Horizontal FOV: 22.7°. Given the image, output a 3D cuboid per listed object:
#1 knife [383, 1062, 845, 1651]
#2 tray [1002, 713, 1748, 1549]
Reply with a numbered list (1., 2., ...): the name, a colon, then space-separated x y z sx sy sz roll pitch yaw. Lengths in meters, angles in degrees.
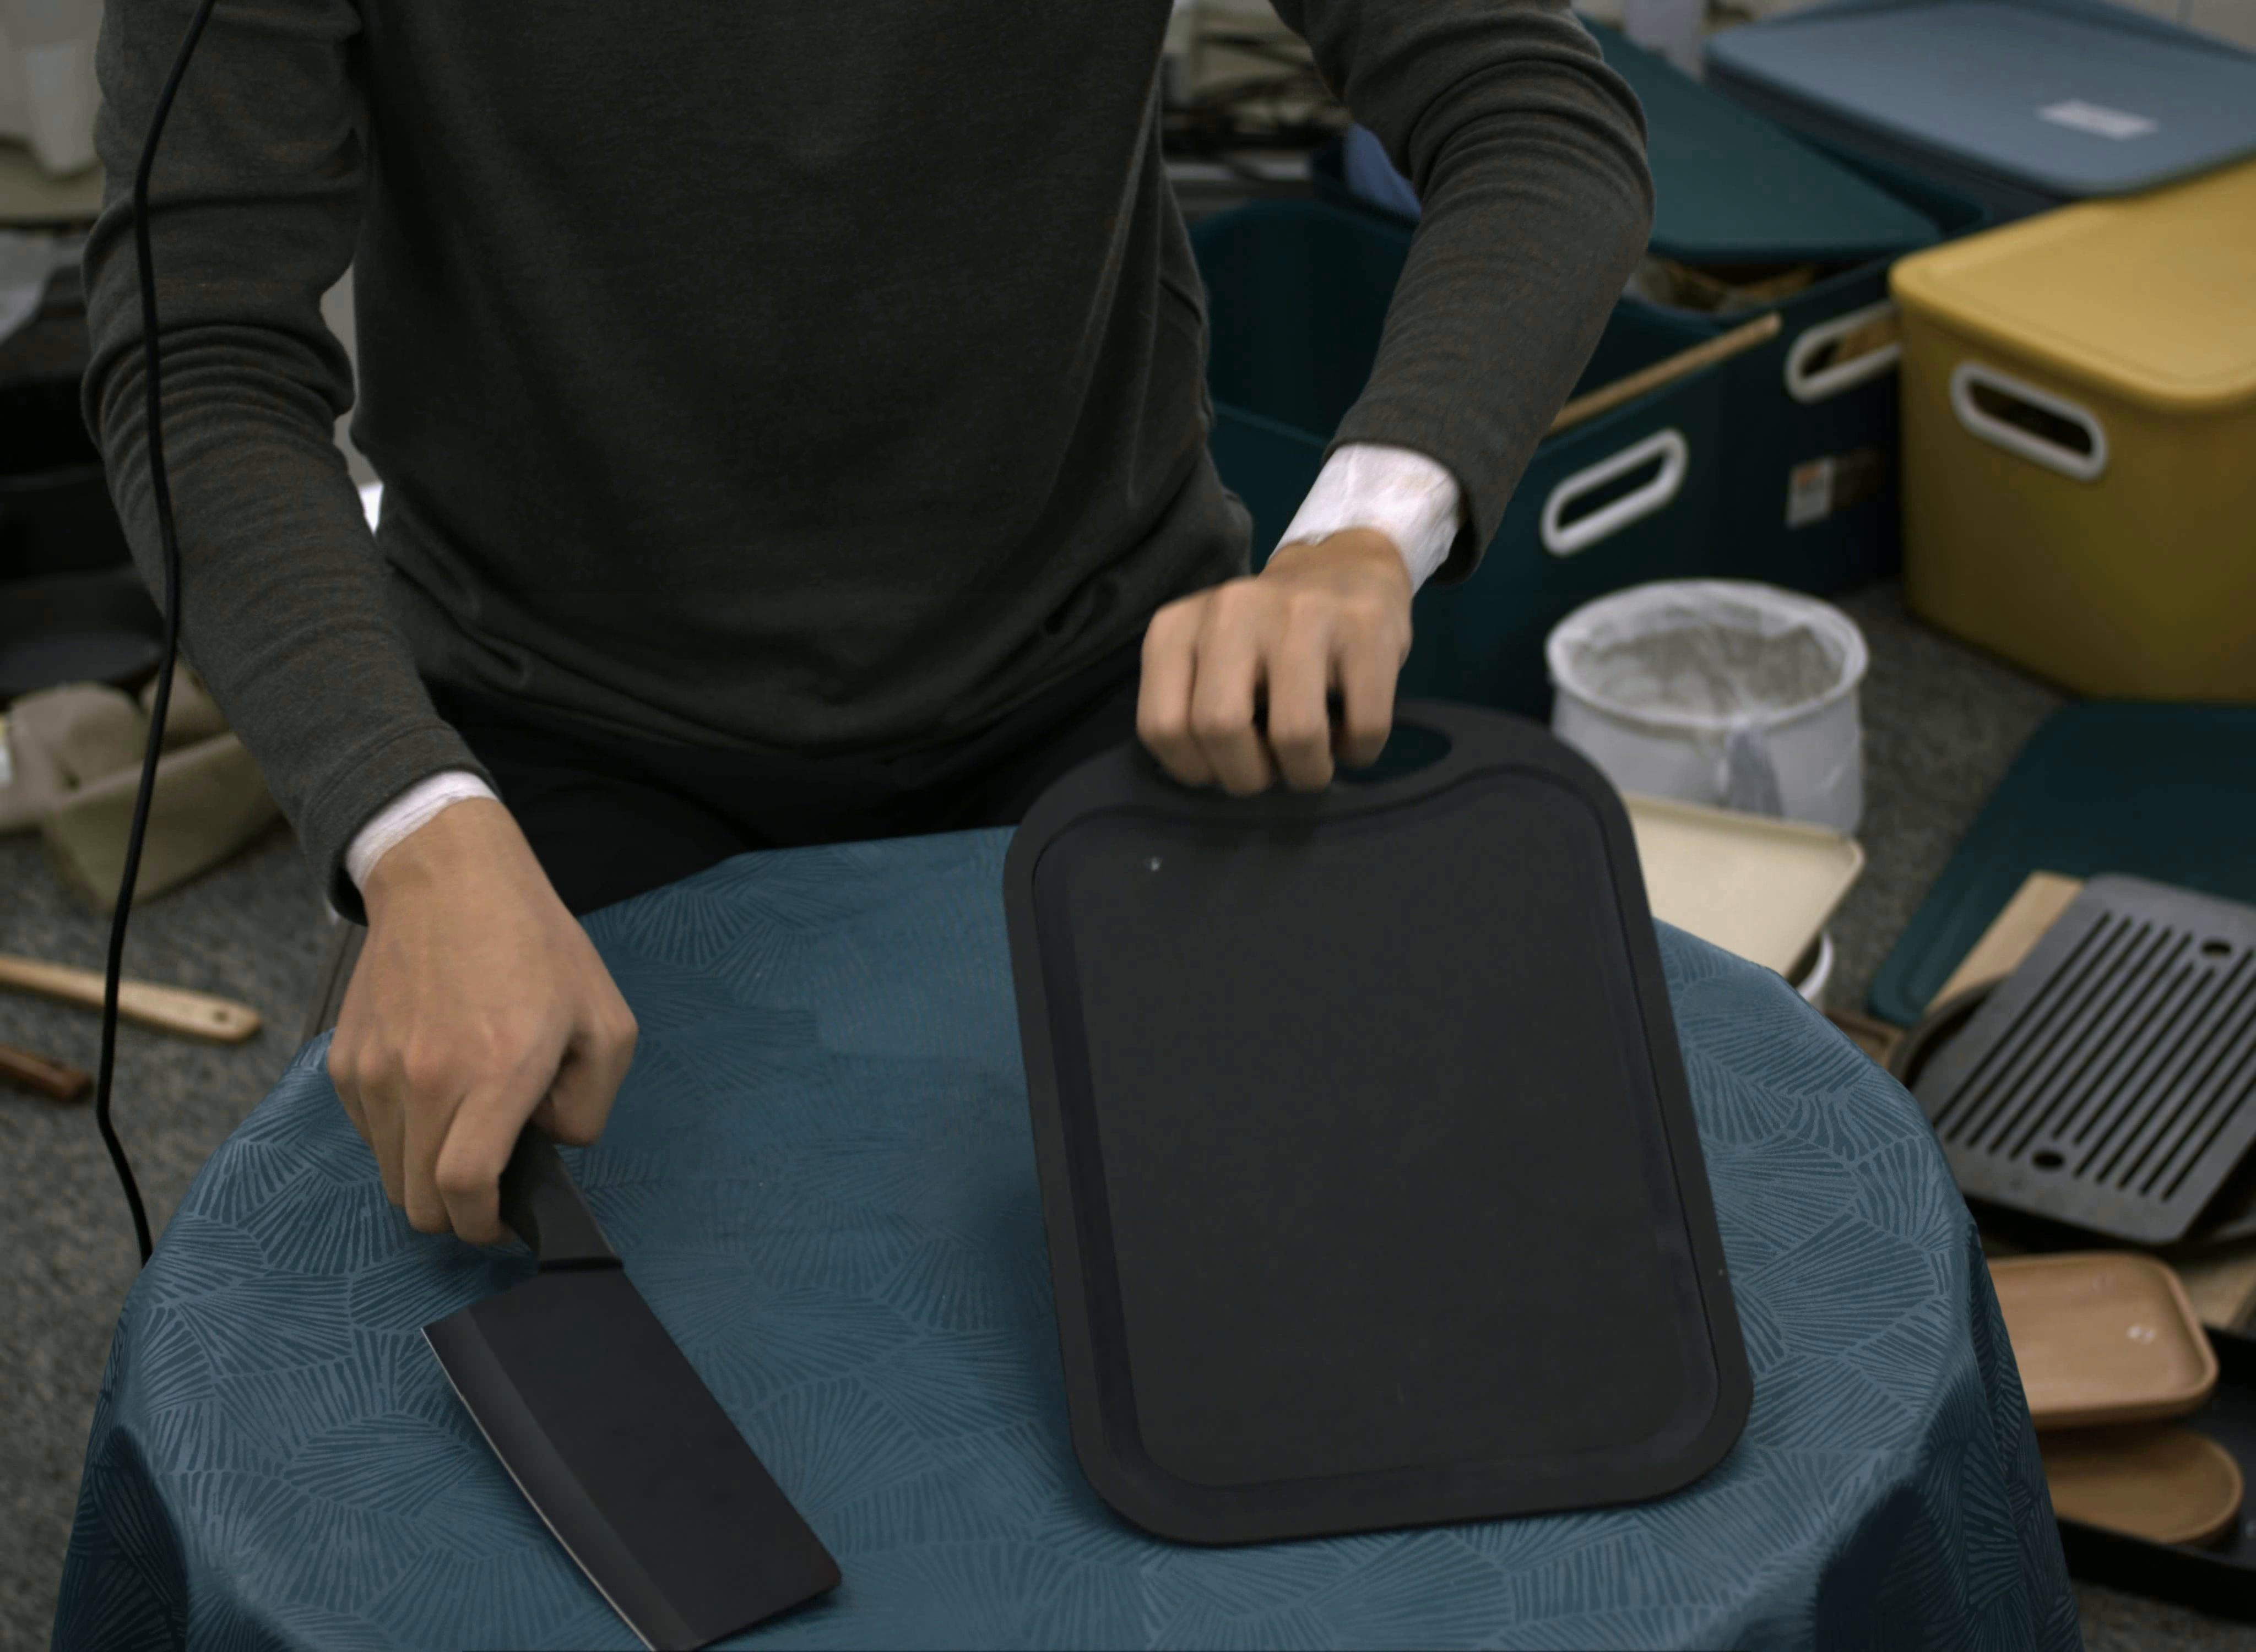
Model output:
1. knife: -0.176 0.161 1.758 0.081 0.020 0.305 -17 36 -16
2. tray: 0.072 0.086 1.784 0.210 0.009 0.331 -5 49 -4
